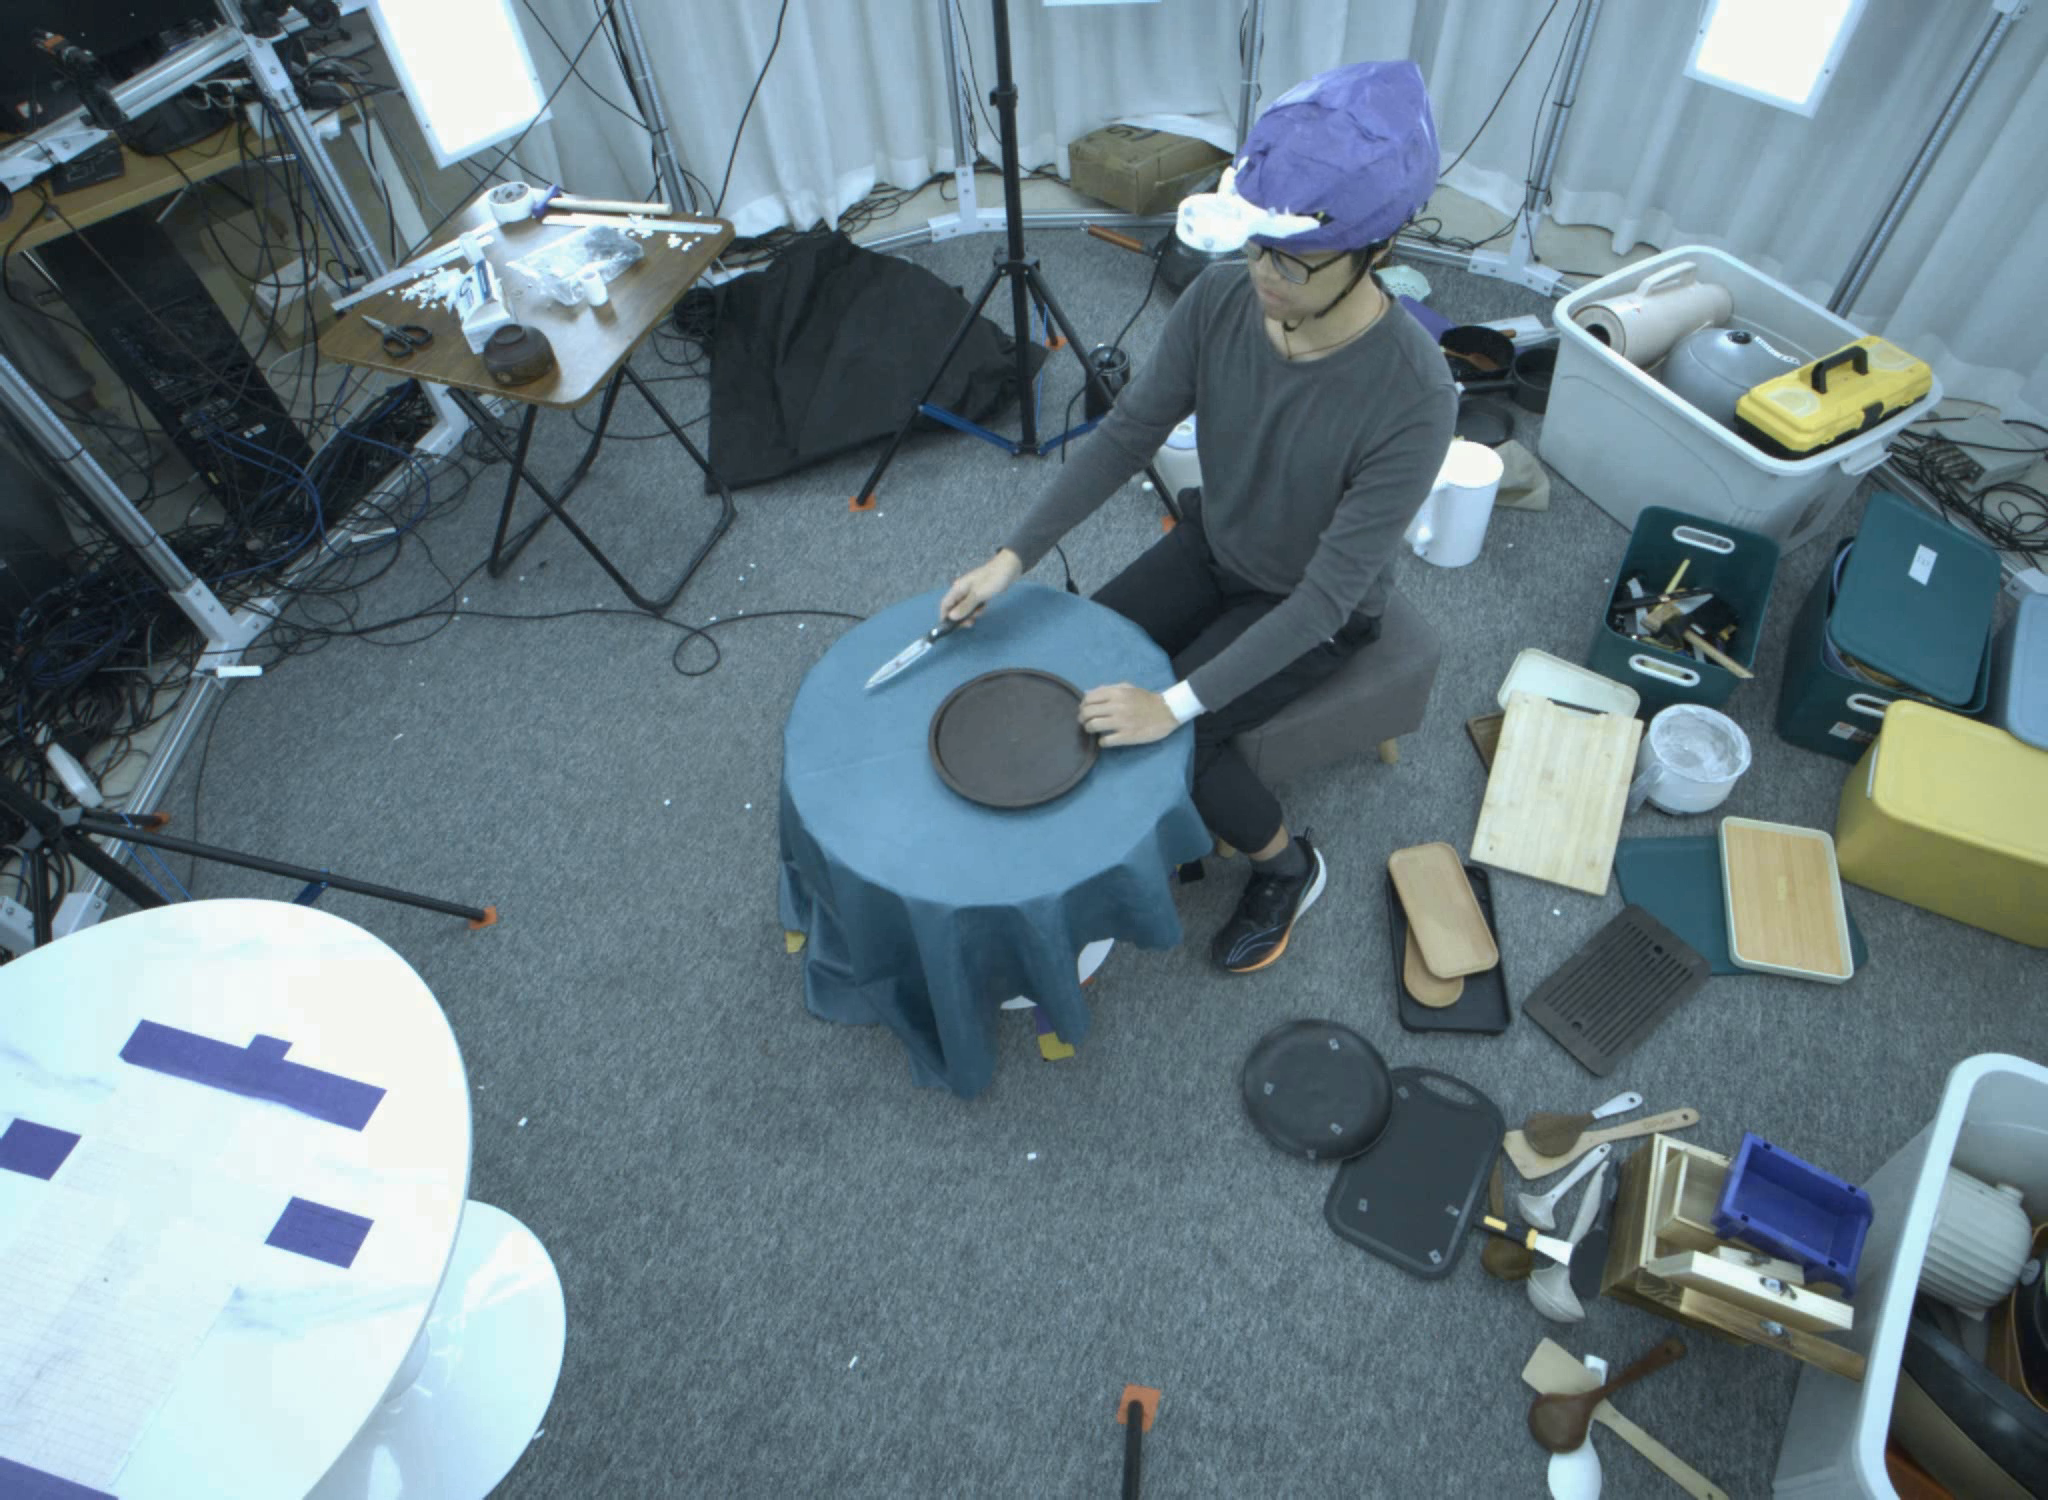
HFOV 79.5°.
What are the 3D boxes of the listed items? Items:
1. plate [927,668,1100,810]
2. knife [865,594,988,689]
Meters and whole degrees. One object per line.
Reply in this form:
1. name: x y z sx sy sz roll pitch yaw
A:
1. plate: -0.015 -0.018 1.794 0.254 0.029 0.252 0 56 2
2. knife: -0.152 -0.168 1.876 0.239 0.016 0.024 -39 77 -15
